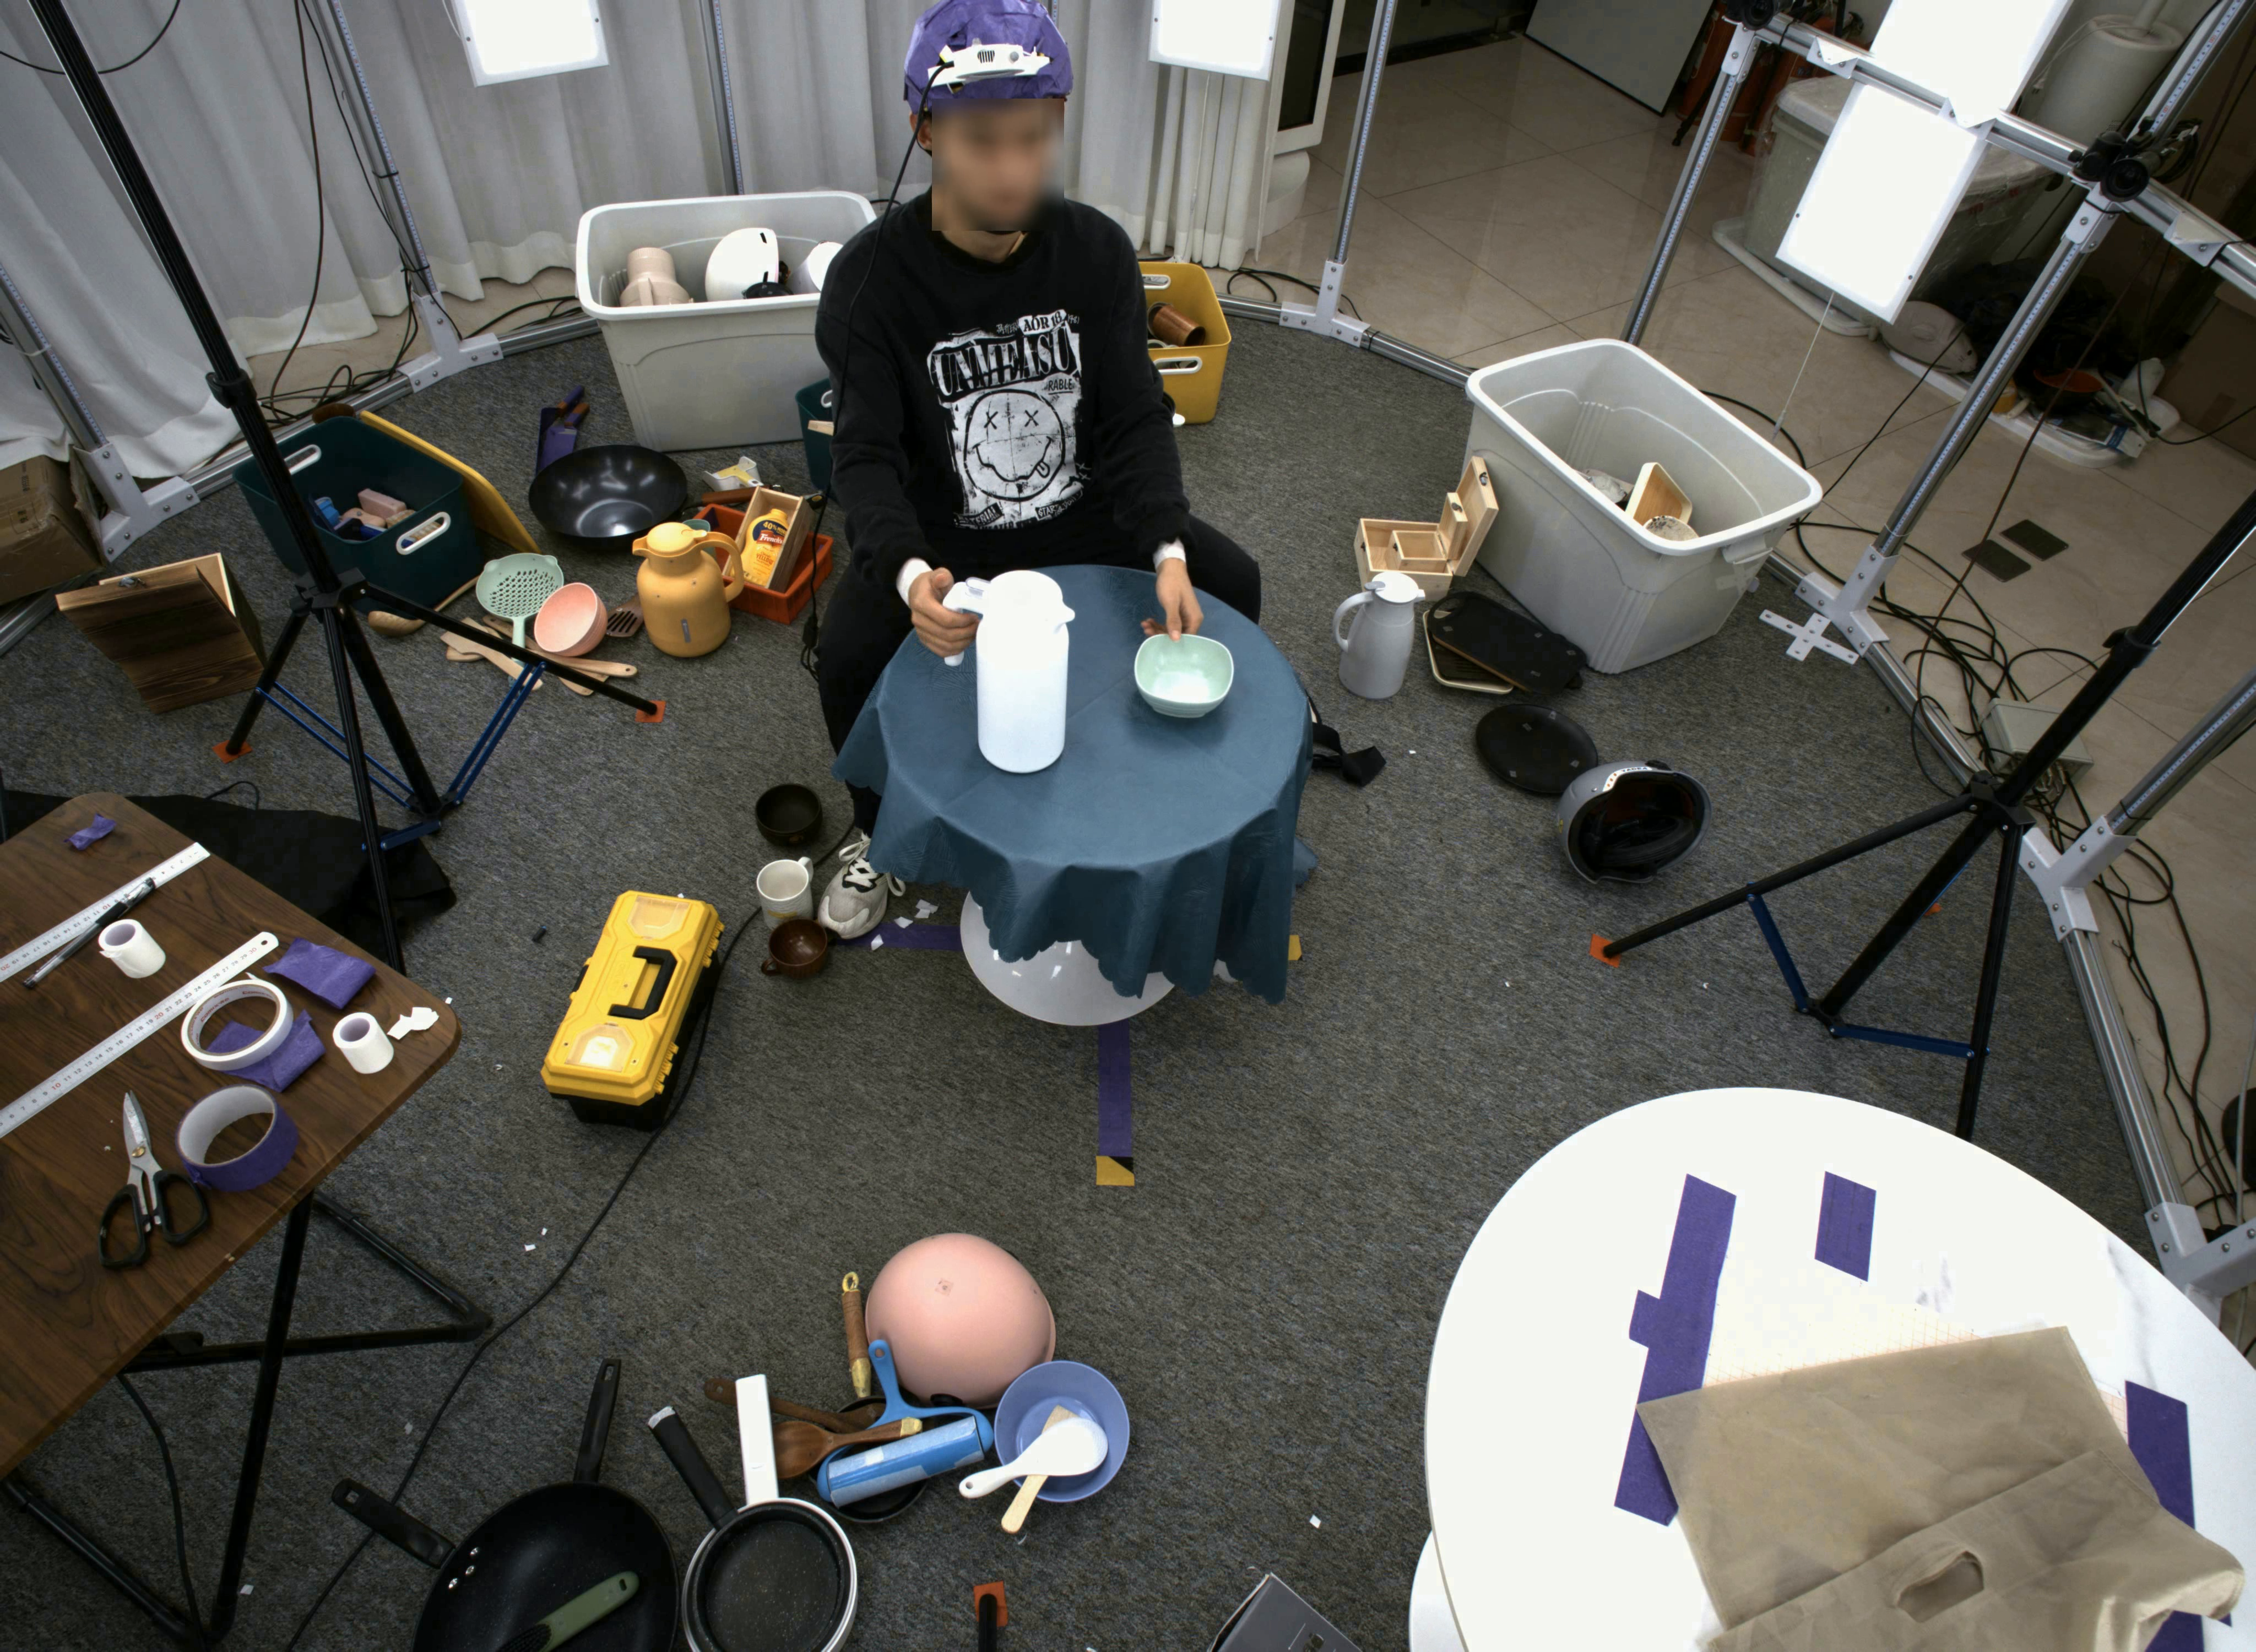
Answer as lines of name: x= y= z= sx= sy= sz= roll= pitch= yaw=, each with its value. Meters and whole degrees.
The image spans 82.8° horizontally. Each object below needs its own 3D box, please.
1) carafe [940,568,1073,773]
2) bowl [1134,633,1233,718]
carafe: x=-0.156 y=-0.199 z=1.661 sx=0.173 sy=0.262 sz=0.126 roll=16 pitch=52 yaw=10
bowl: x=0.076 y=-0.204 z=1.816 sx=0.151 sy=0.057 sz=0.155 roll=2 pitch=50 yaw=-3
